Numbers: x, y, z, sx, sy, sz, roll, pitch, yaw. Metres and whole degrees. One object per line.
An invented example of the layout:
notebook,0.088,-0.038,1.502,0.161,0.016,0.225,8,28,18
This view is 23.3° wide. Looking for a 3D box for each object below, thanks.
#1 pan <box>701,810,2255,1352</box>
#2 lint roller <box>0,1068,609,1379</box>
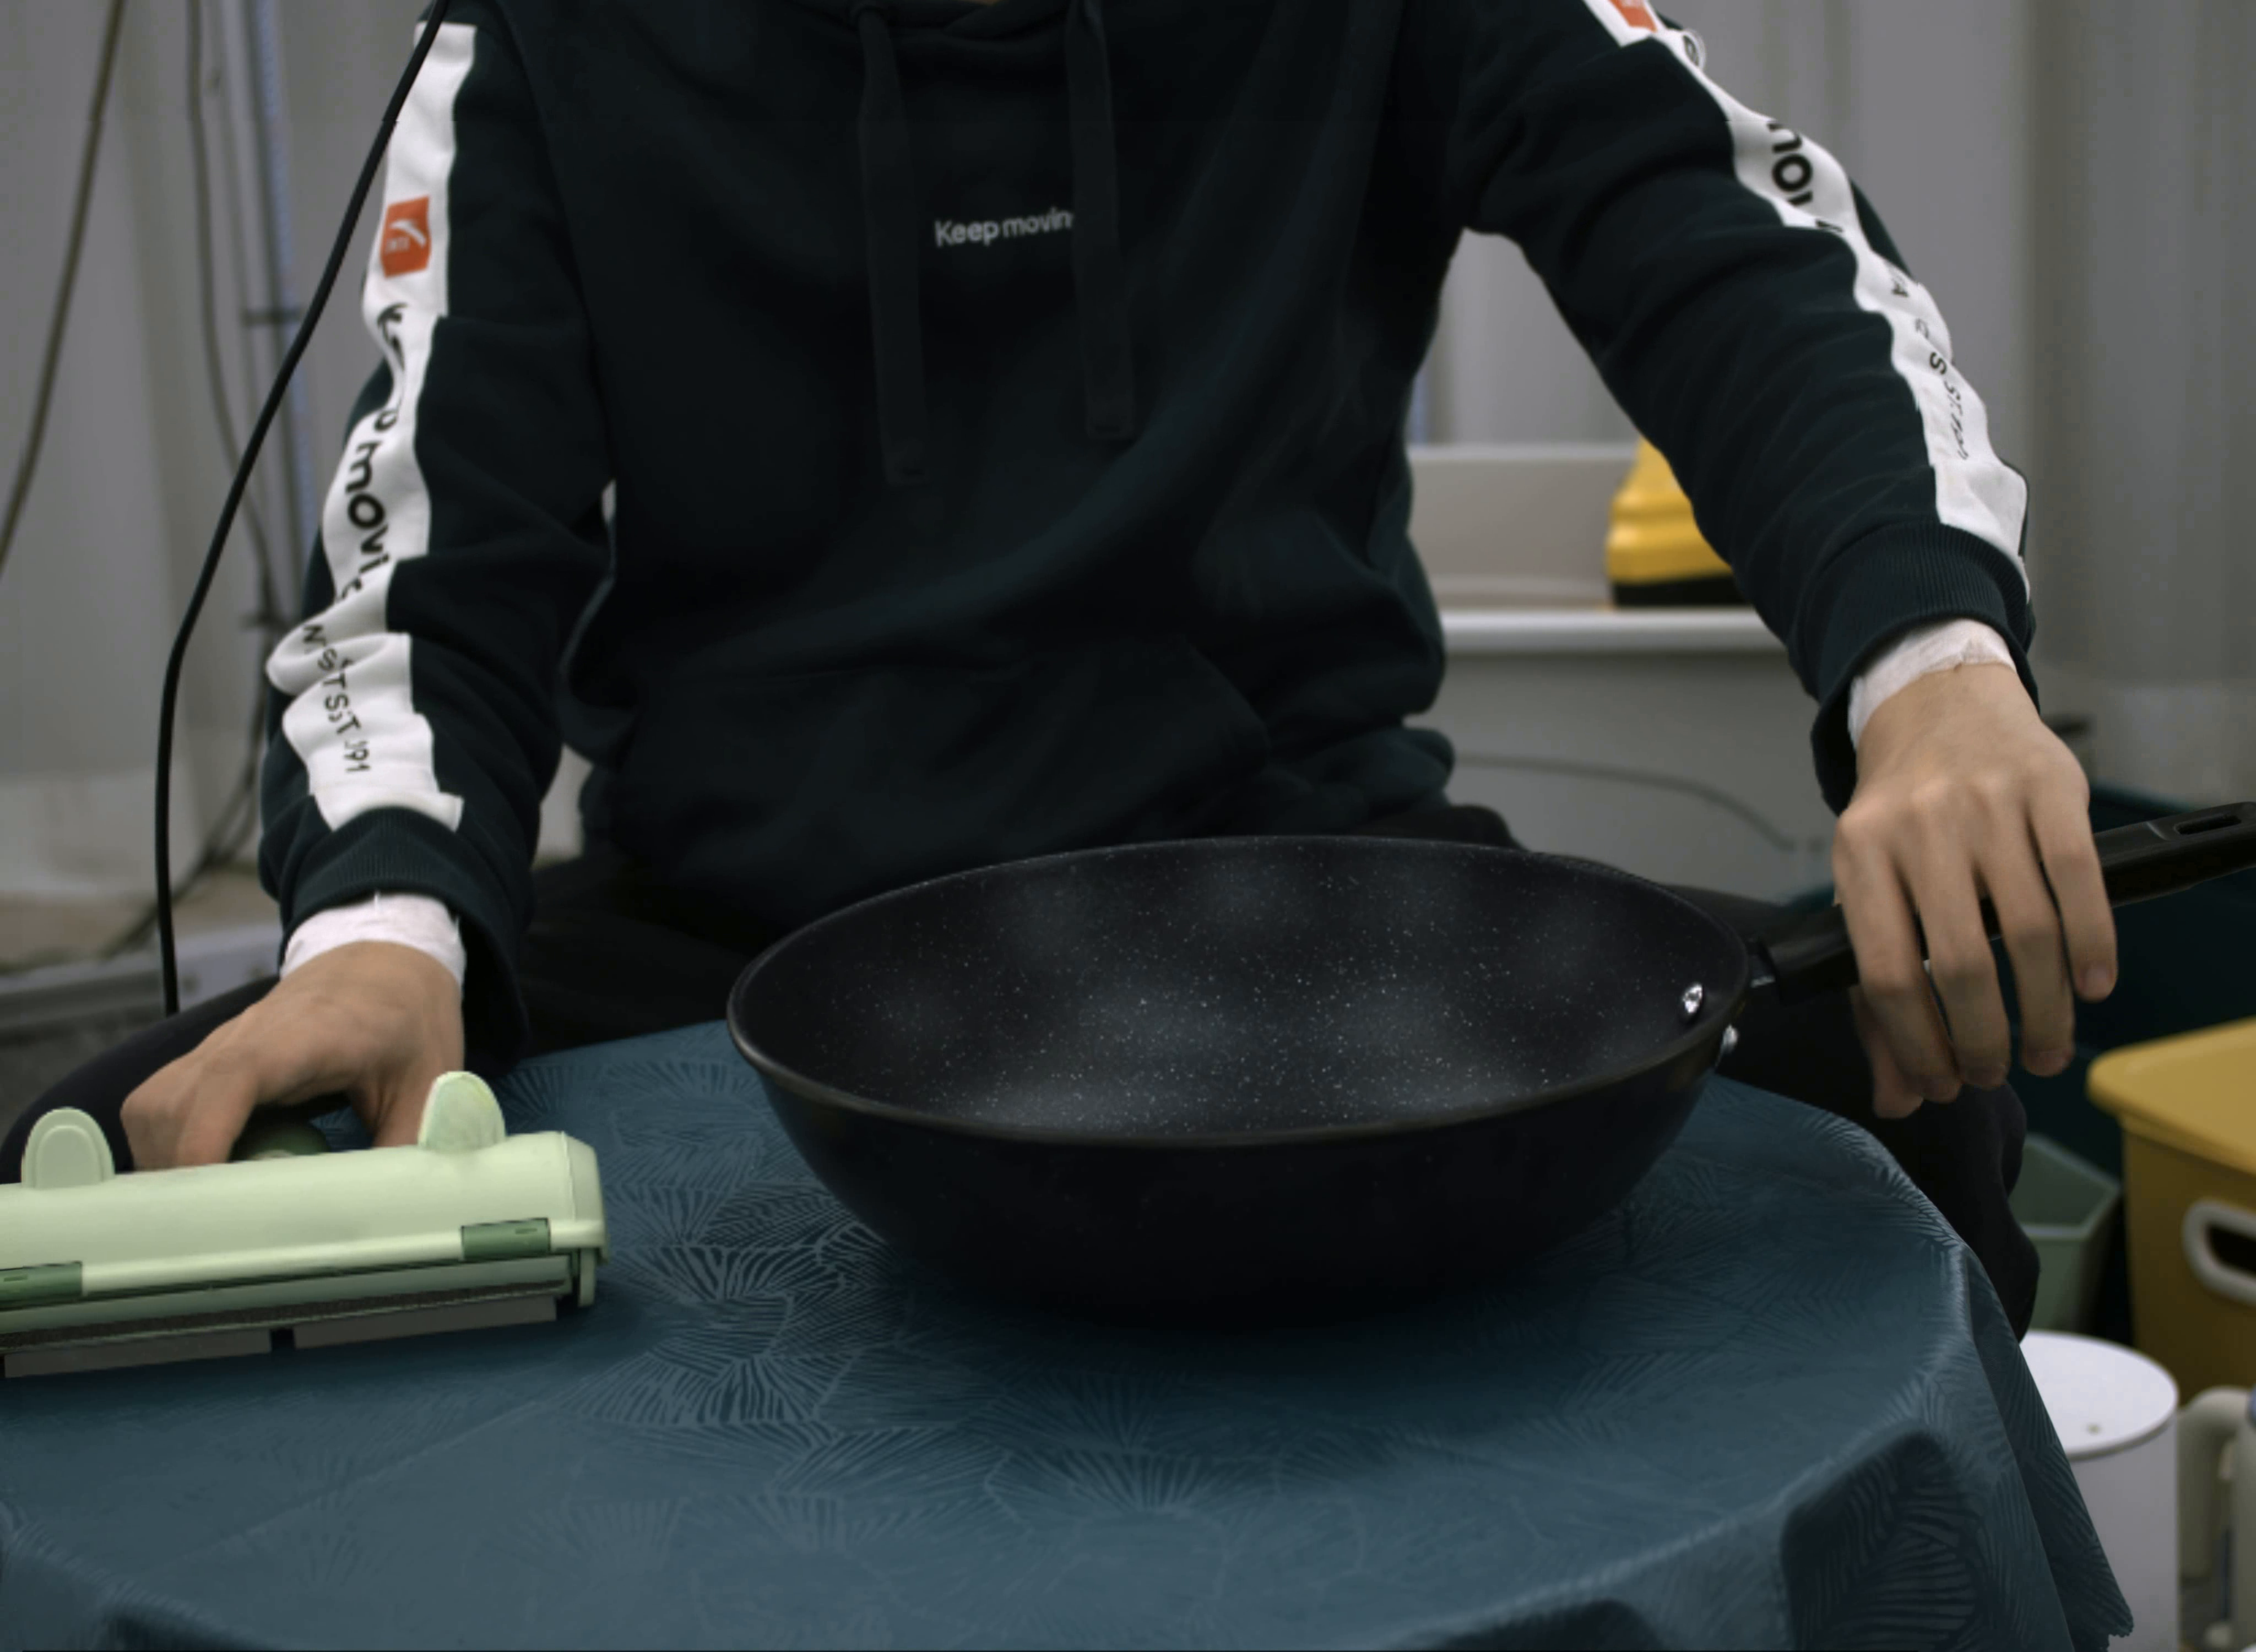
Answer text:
pan,0.110,0.070,1.656,0.475,0.111,0.313,-5,16,-4
lint roller,-0.263,0.101,1.672,0.198,0.081,0.185,-6,20,-8
